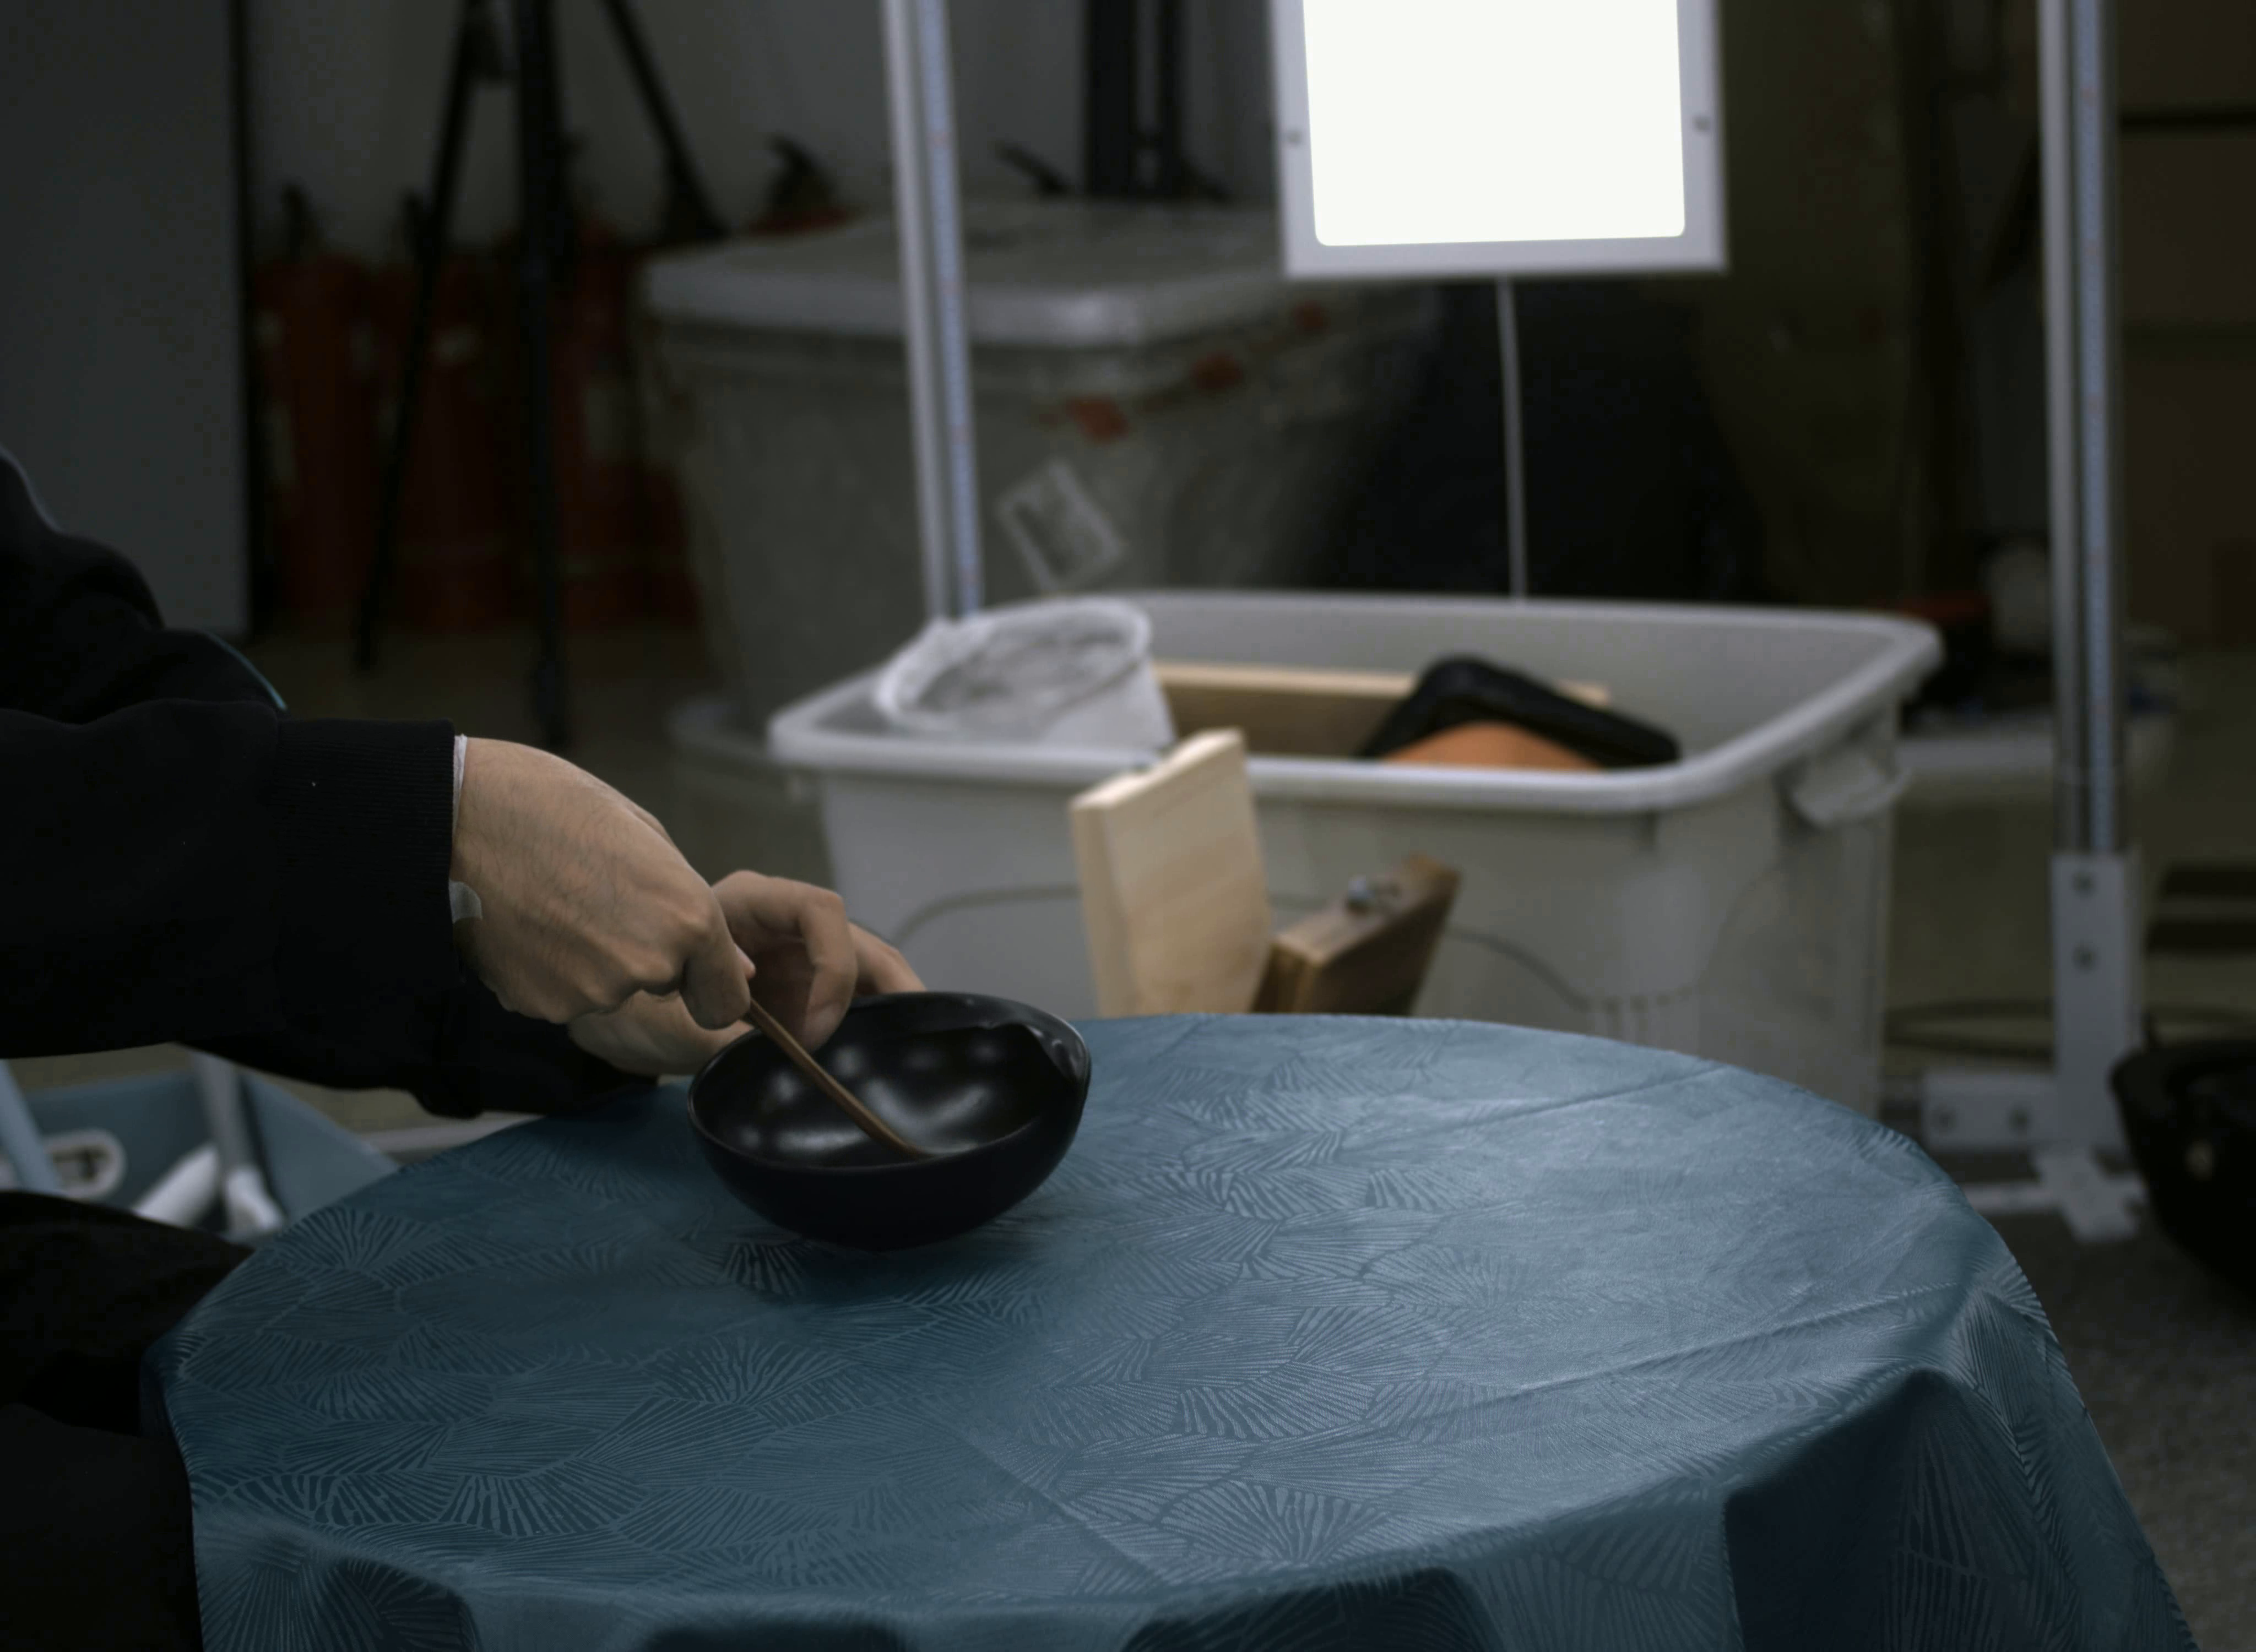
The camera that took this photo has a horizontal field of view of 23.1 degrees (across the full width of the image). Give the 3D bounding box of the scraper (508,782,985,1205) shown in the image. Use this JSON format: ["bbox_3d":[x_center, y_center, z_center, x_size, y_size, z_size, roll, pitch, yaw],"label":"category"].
[{"bbox_3d":[-0.129,0.057,1.845,0.011,0.210,0.076,-47,11,-4],"label":"scraper"}]

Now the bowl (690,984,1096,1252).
[{"bbox_3d":[-0.078,0.107,1.879,0.140,0.050,0.139,-6,25,1],"label":"bowl"}]
